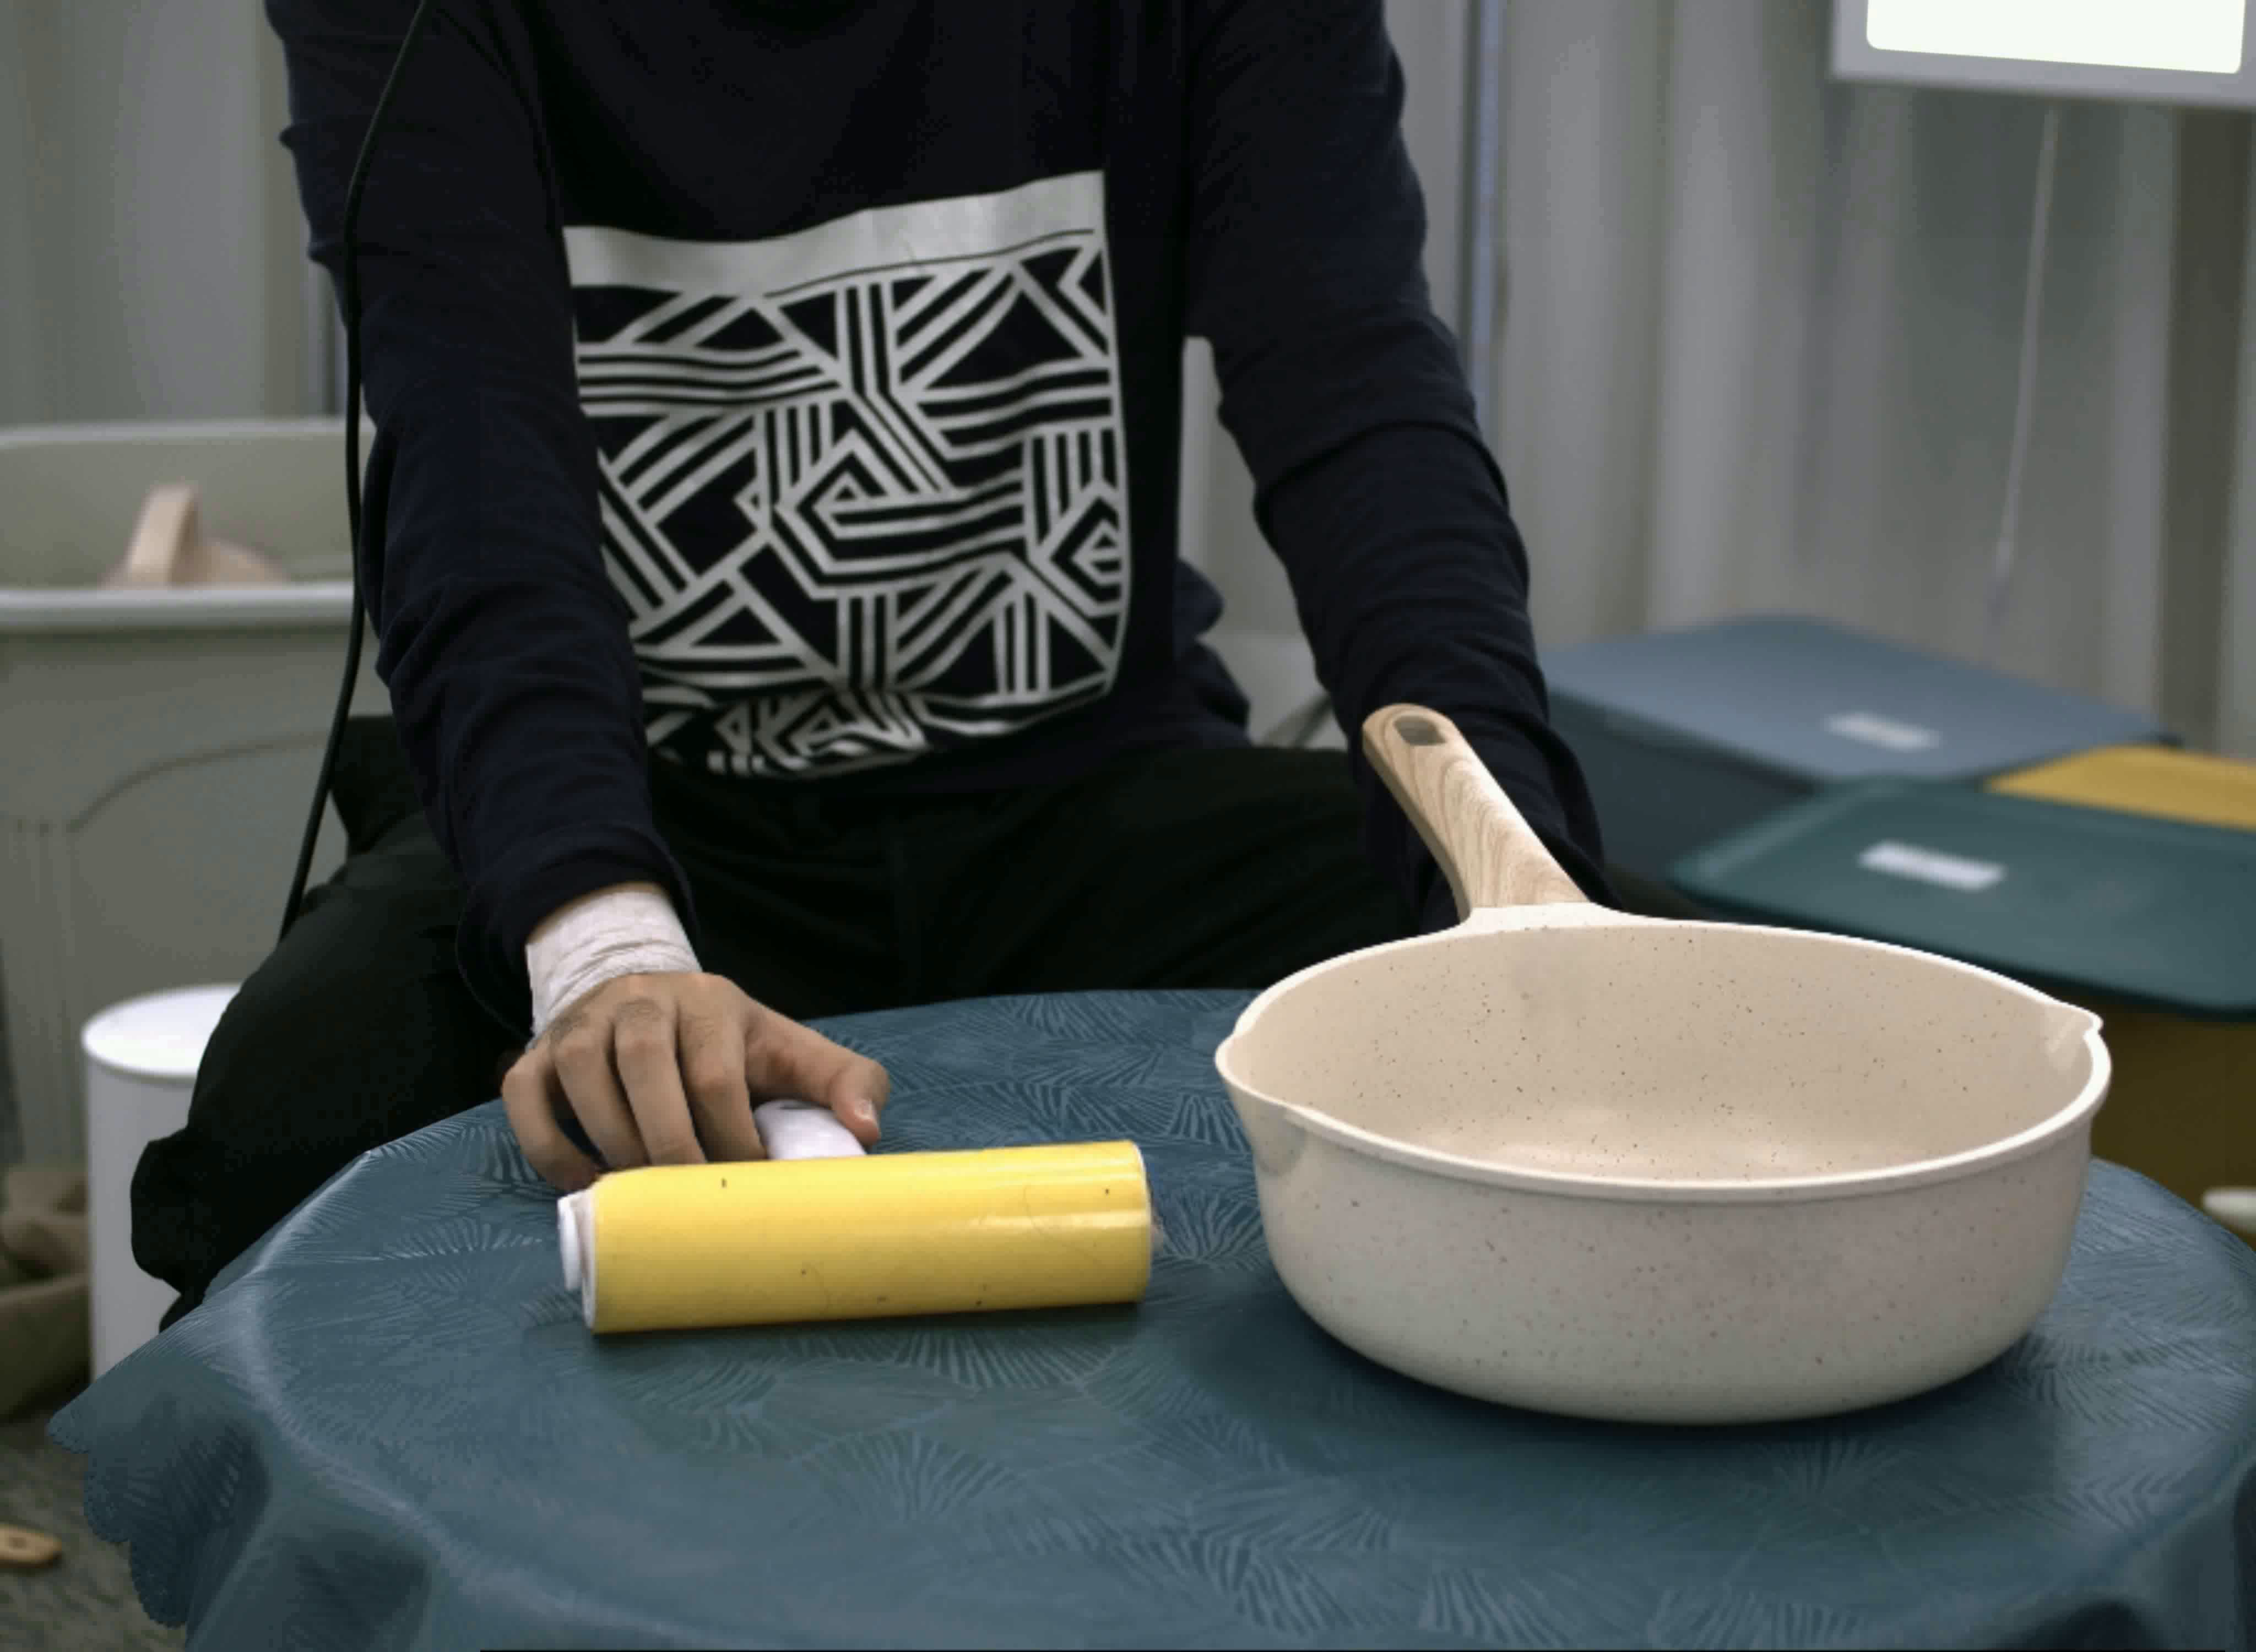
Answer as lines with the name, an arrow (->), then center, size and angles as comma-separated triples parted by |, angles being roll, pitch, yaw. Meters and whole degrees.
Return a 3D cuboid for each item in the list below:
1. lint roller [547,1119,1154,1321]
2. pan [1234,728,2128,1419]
lint roller -> -0.093, 0.100, 1.579 | 0.174, 0.052, 0.190 | -2, 14, -11
pan -> 0.140, 0.069, 1.603 | 0.263, 0.103, 0.431 | -5, 16, -12
